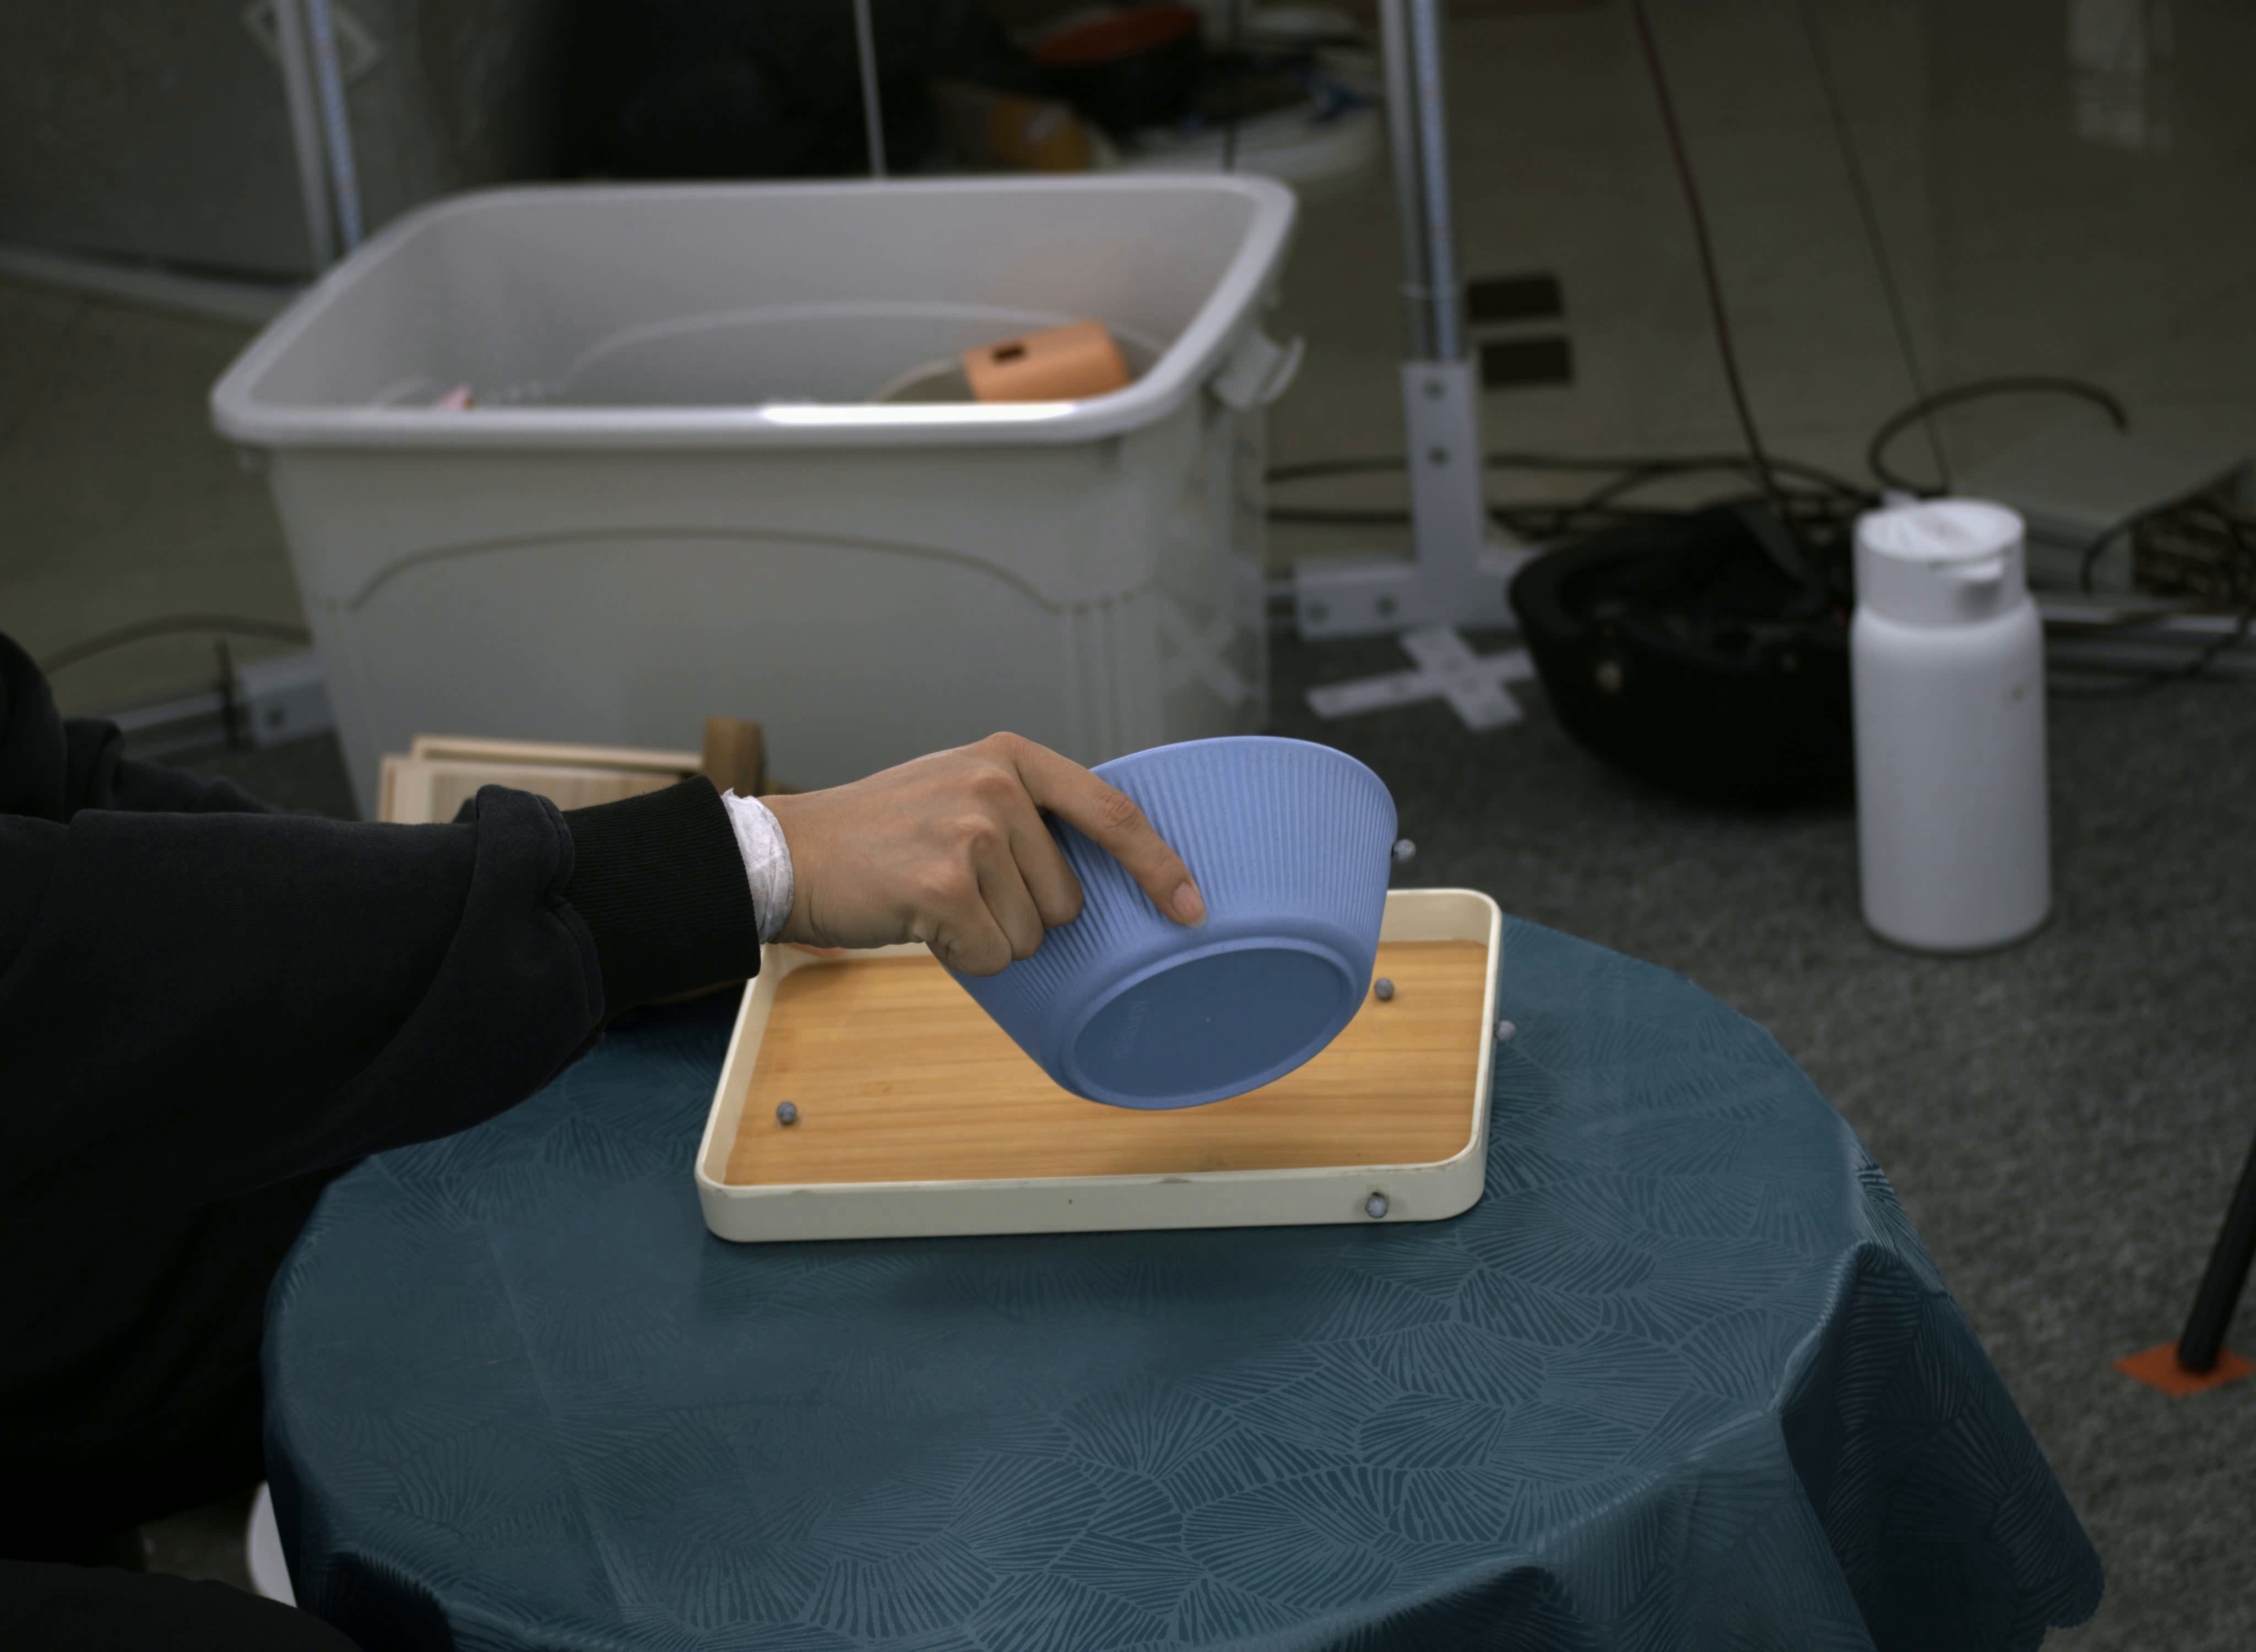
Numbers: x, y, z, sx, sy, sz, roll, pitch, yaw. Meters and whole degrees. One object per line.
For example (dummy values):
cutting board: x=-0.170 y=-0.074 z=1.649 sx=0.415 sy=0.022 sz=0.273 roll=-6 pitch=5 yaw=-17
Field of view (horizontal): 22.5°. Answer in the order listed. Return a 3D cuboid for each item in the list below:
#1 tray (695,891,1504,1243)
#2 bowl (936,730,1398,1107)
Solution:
tray: x=-0.008 y=0.092 z=2.196 sx=0.300 sy=0.028 sz=0.188 roll=-2 pitch=33 yaw=9
bowl: x=0.022 y=0.043 z=2.046 sx=0.175 sy=0.179 sz=0.069 roll=-11 pitch=58 yaw=-11
